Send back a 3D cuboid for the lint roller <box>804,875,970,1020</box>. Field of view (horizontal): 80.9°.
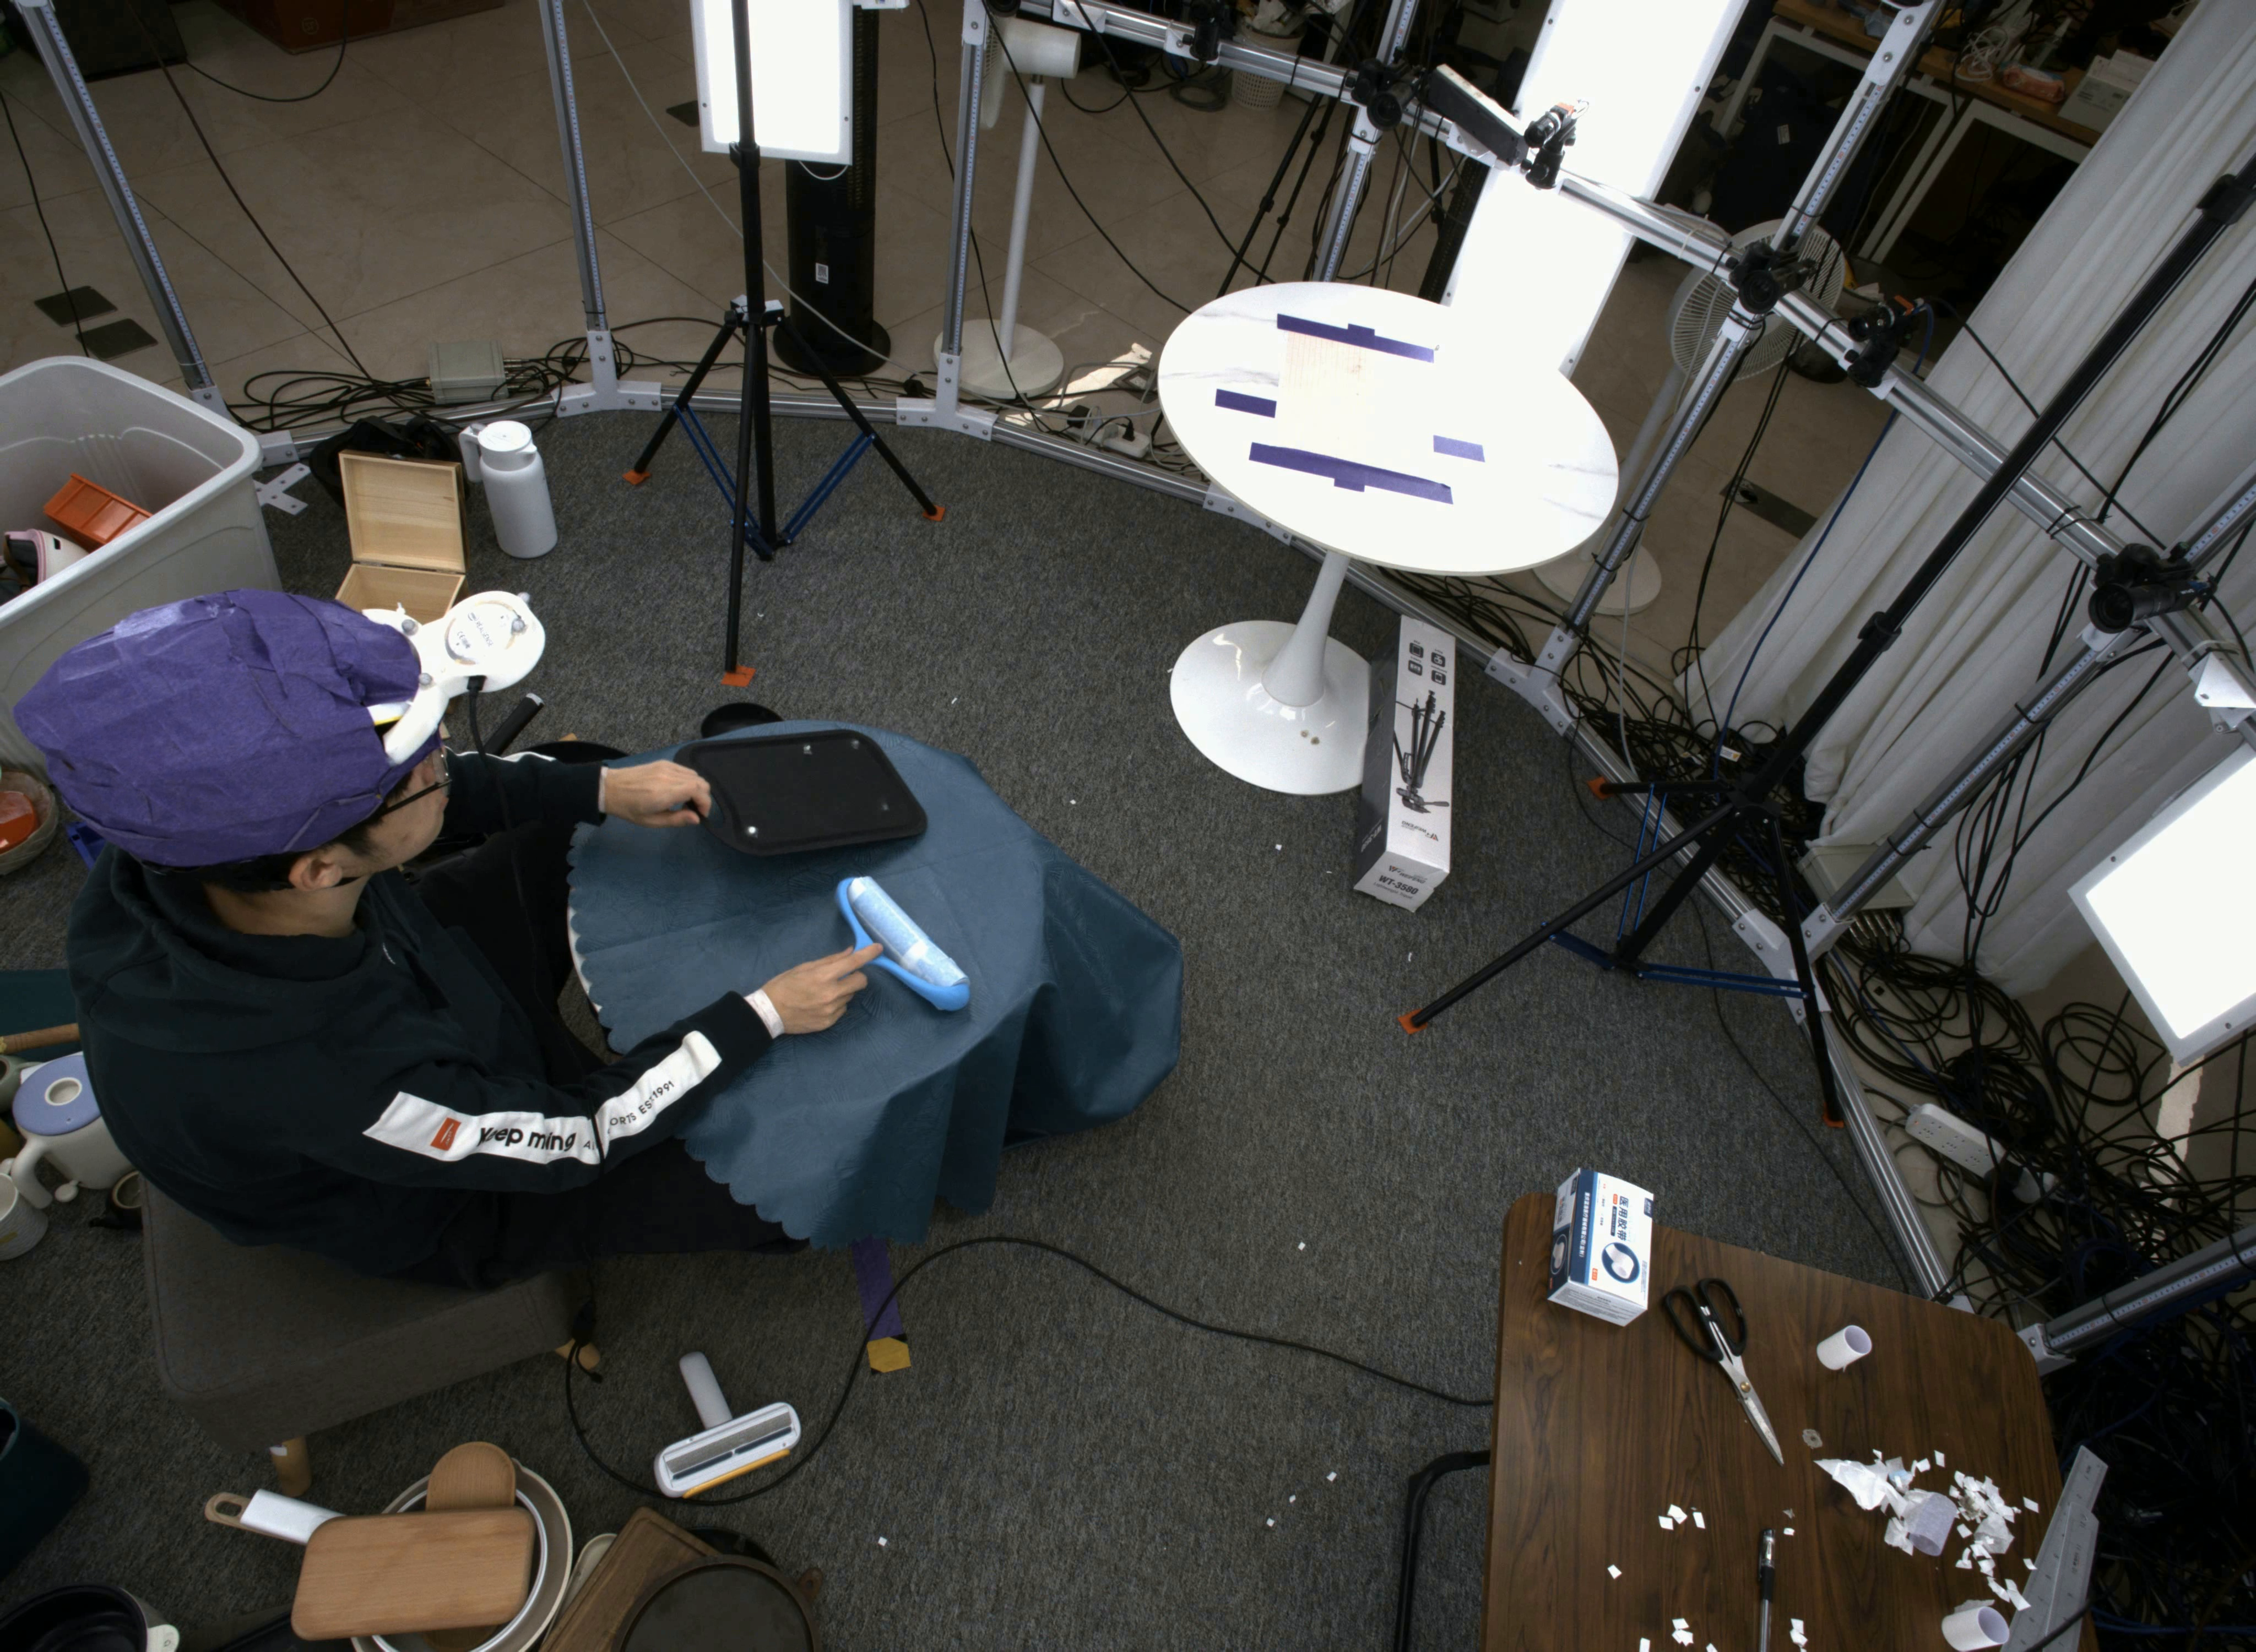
[{"bbox_3d":[-0.319,0.169,1.593,0.224,0.069,0.181,42,51,14],"label":"lint roller"}]

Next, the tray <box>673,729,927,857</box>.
[{"bbox_3d":[-0.428,-0.049,1.691,0.330,0.010,0.206,-10,53,-45],"label":"tray"}]
